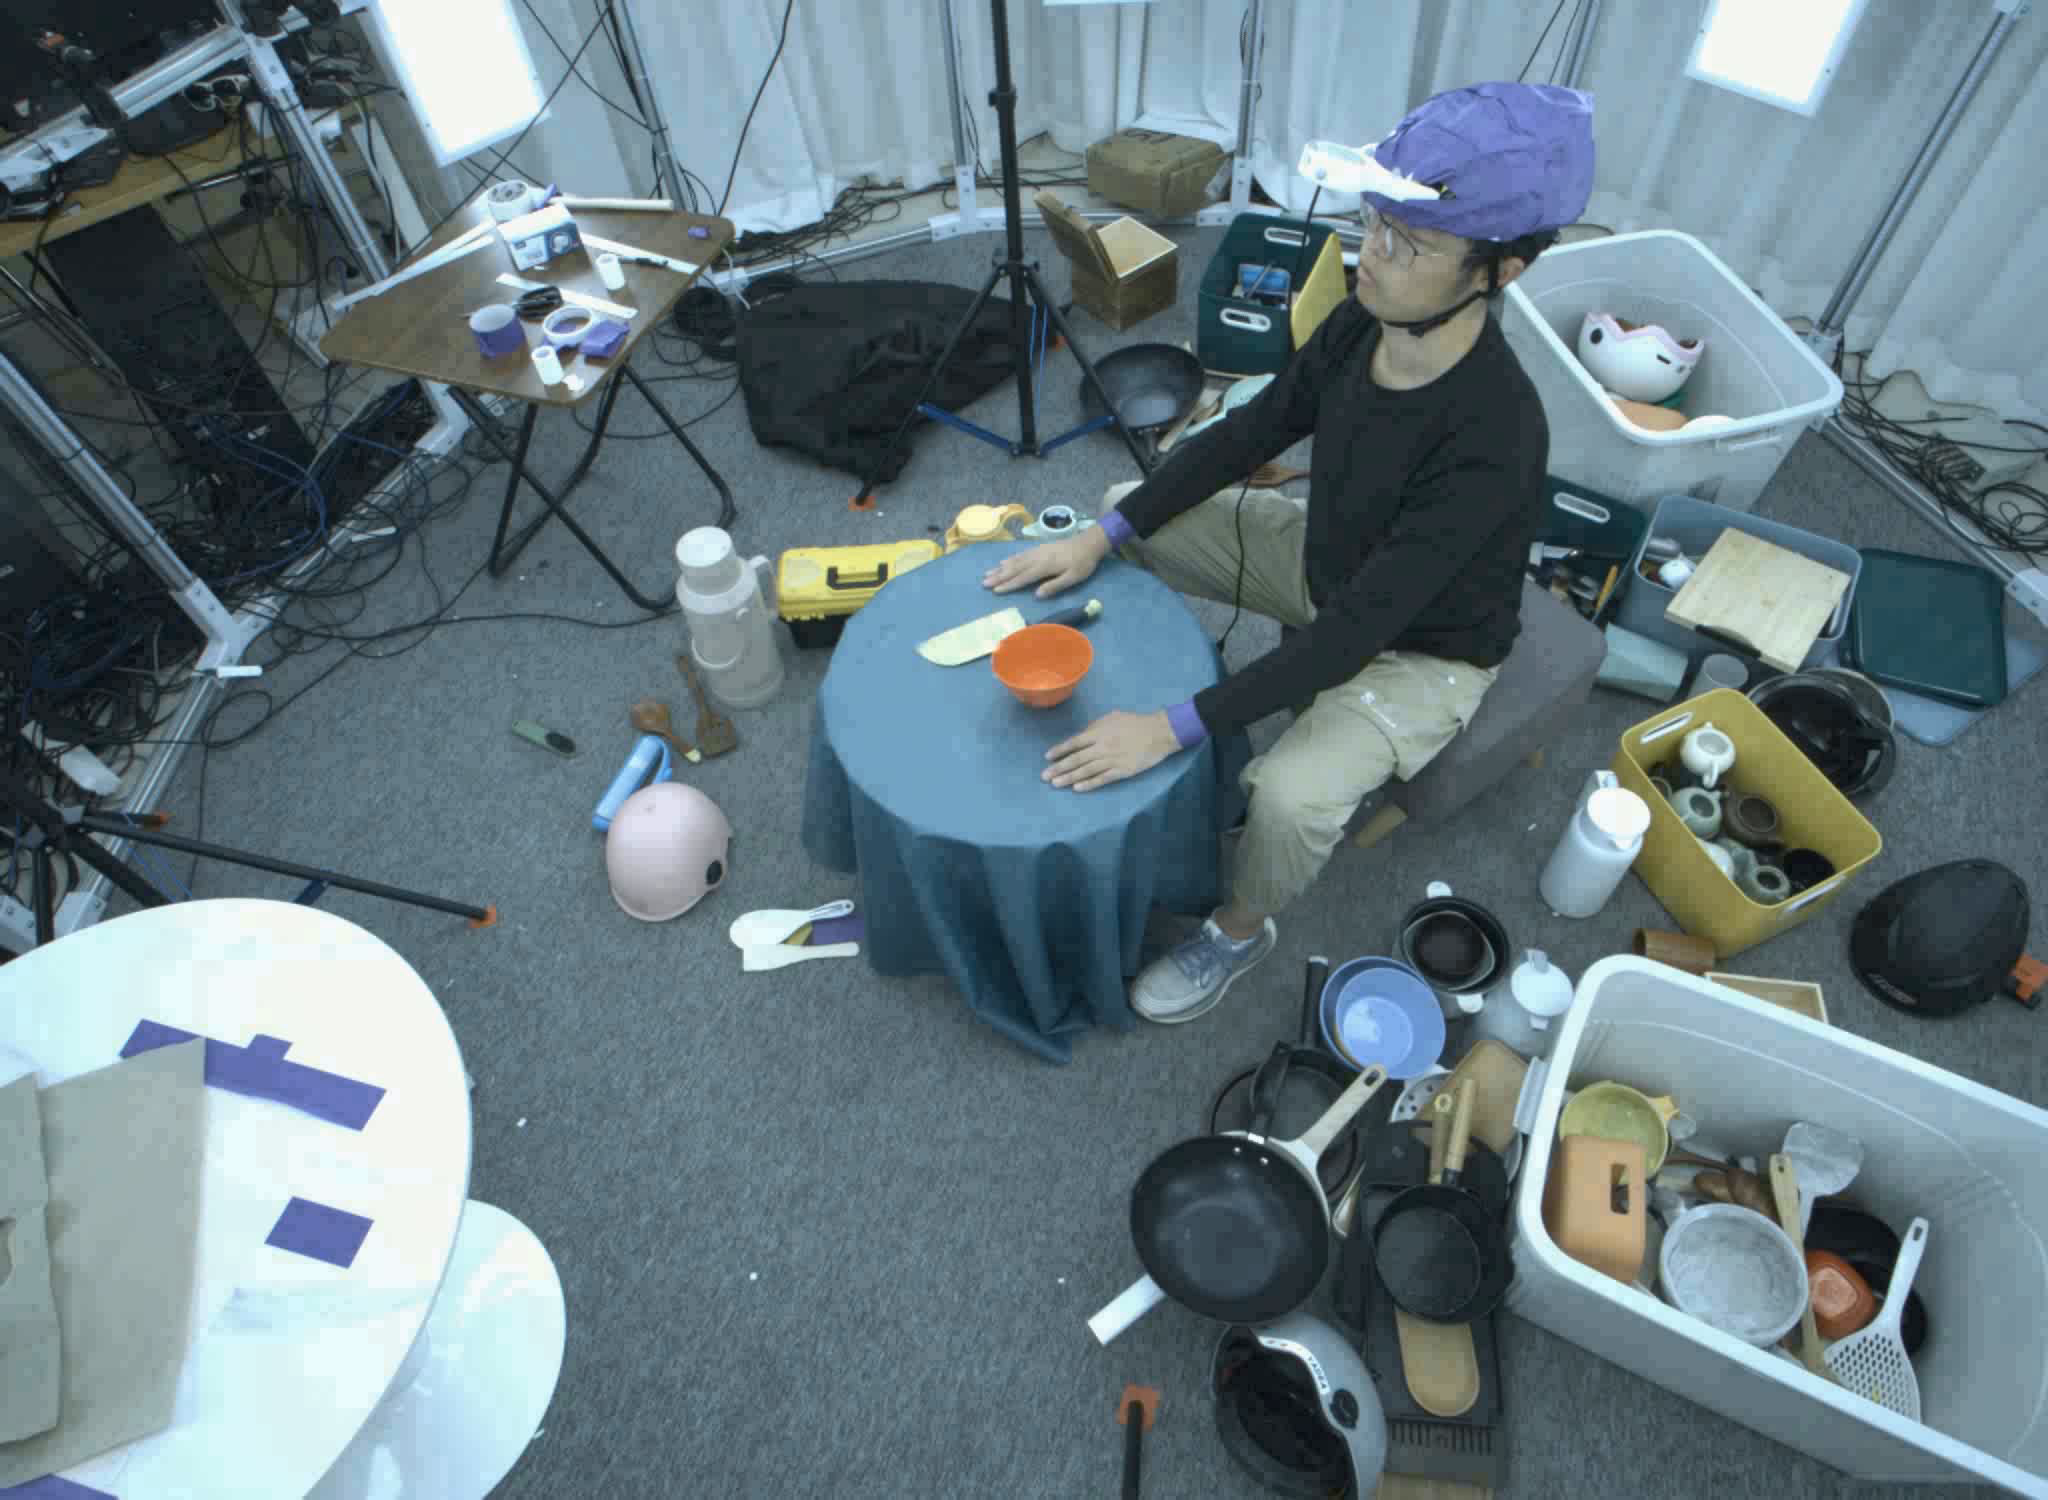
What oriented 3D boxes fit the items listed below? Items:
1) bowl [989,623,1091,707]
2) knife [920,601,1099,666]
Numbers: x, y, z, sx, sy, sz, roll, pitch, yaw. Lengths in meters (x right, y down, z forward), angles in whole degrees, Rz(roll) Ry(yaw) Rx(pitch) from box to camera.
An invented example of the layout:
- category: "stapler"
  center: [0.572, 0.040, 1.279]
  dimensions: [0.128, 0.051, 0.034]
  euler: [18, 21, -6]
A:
- category: "bowl"
  center: [0.026, -0.111, 1.798]
  dimensions: [0.148, 0.106, 0.146]
  euler: [-2, 54, 3]
- category: "knife"
  center: [-0.024, -0.189, 1.911]
  dimensions: [0.291, 0.027, 0.079]
  euler: [-17, 57, -9]
